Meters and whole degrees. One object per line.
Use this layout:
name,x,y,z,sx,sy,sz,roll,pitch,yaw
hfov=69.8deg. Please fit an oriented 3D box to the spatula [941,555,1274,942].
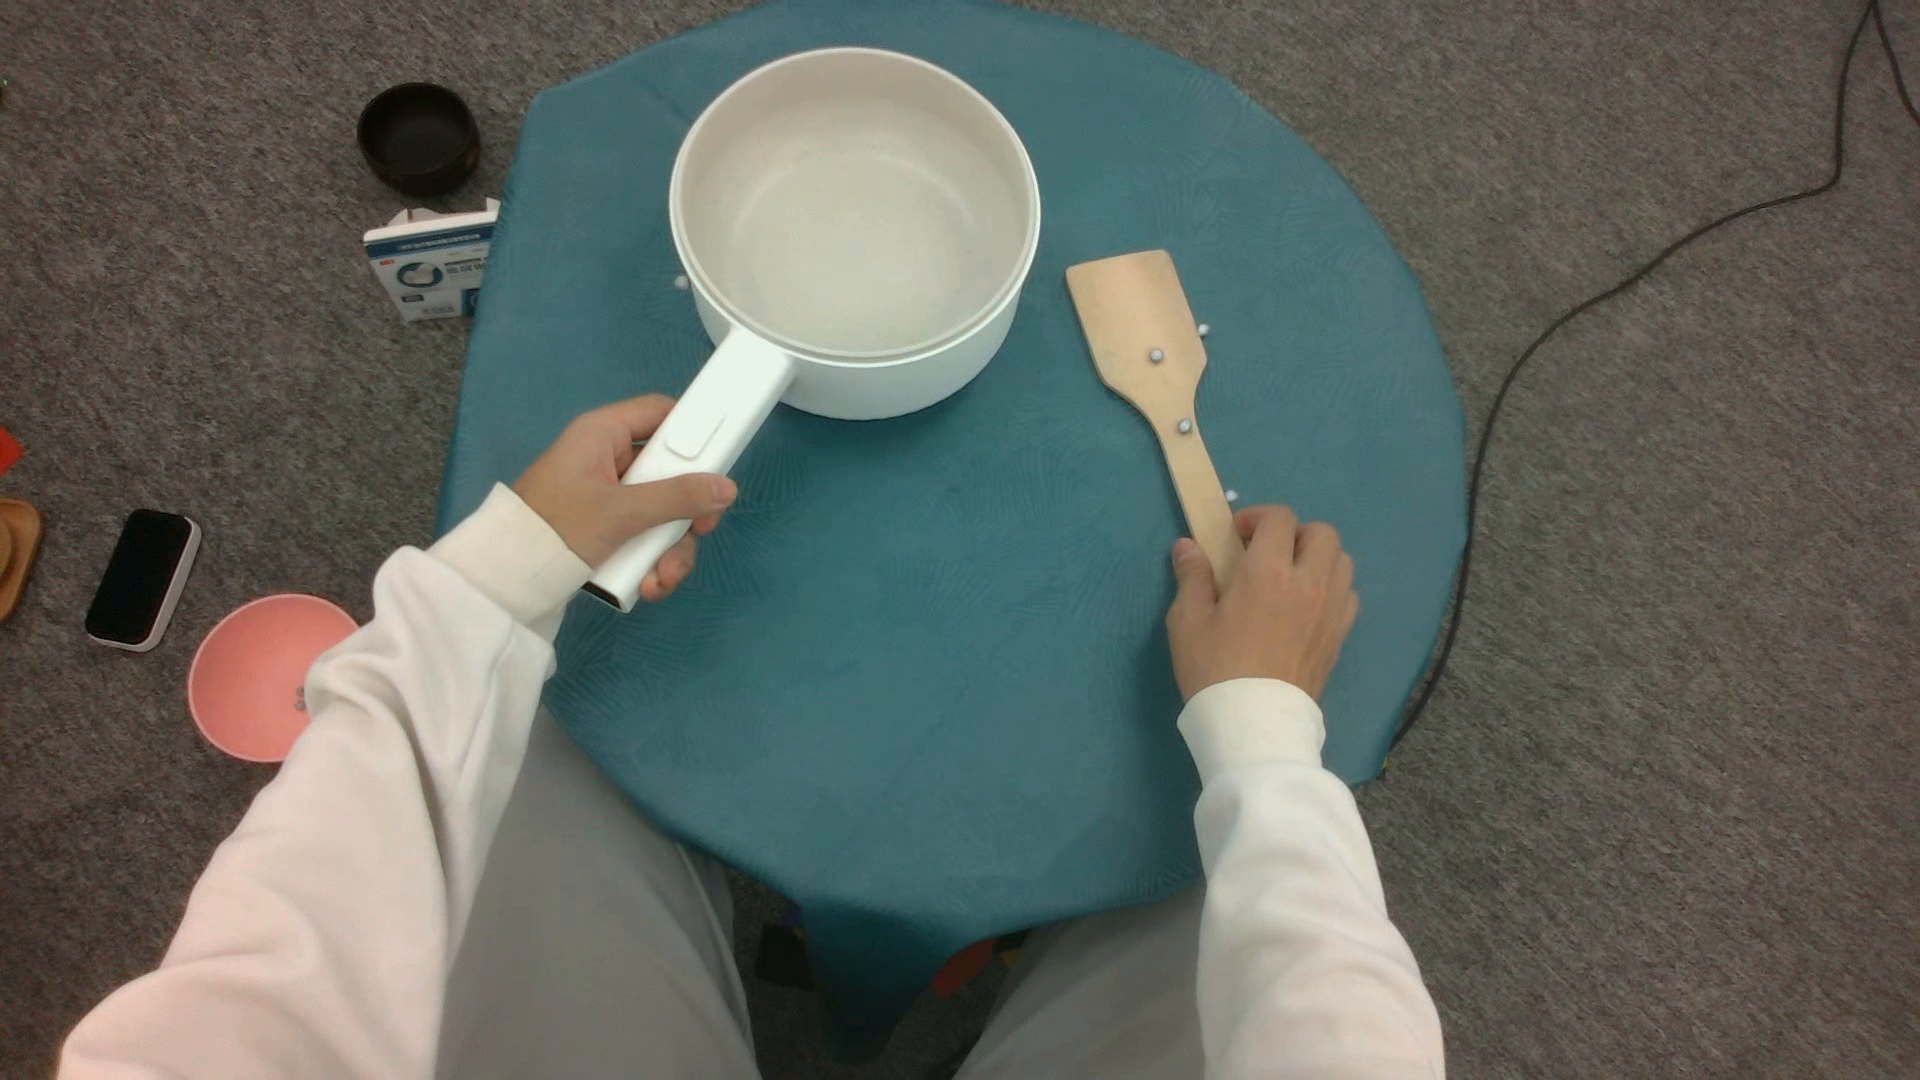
spatula,0.091,0.120,0.836,0.072,0.010,0.293,-26,55,-18

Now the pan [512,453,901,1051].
pan,-0.152,0.116,0.788,0.201,0.101,0.356,10,56,8
